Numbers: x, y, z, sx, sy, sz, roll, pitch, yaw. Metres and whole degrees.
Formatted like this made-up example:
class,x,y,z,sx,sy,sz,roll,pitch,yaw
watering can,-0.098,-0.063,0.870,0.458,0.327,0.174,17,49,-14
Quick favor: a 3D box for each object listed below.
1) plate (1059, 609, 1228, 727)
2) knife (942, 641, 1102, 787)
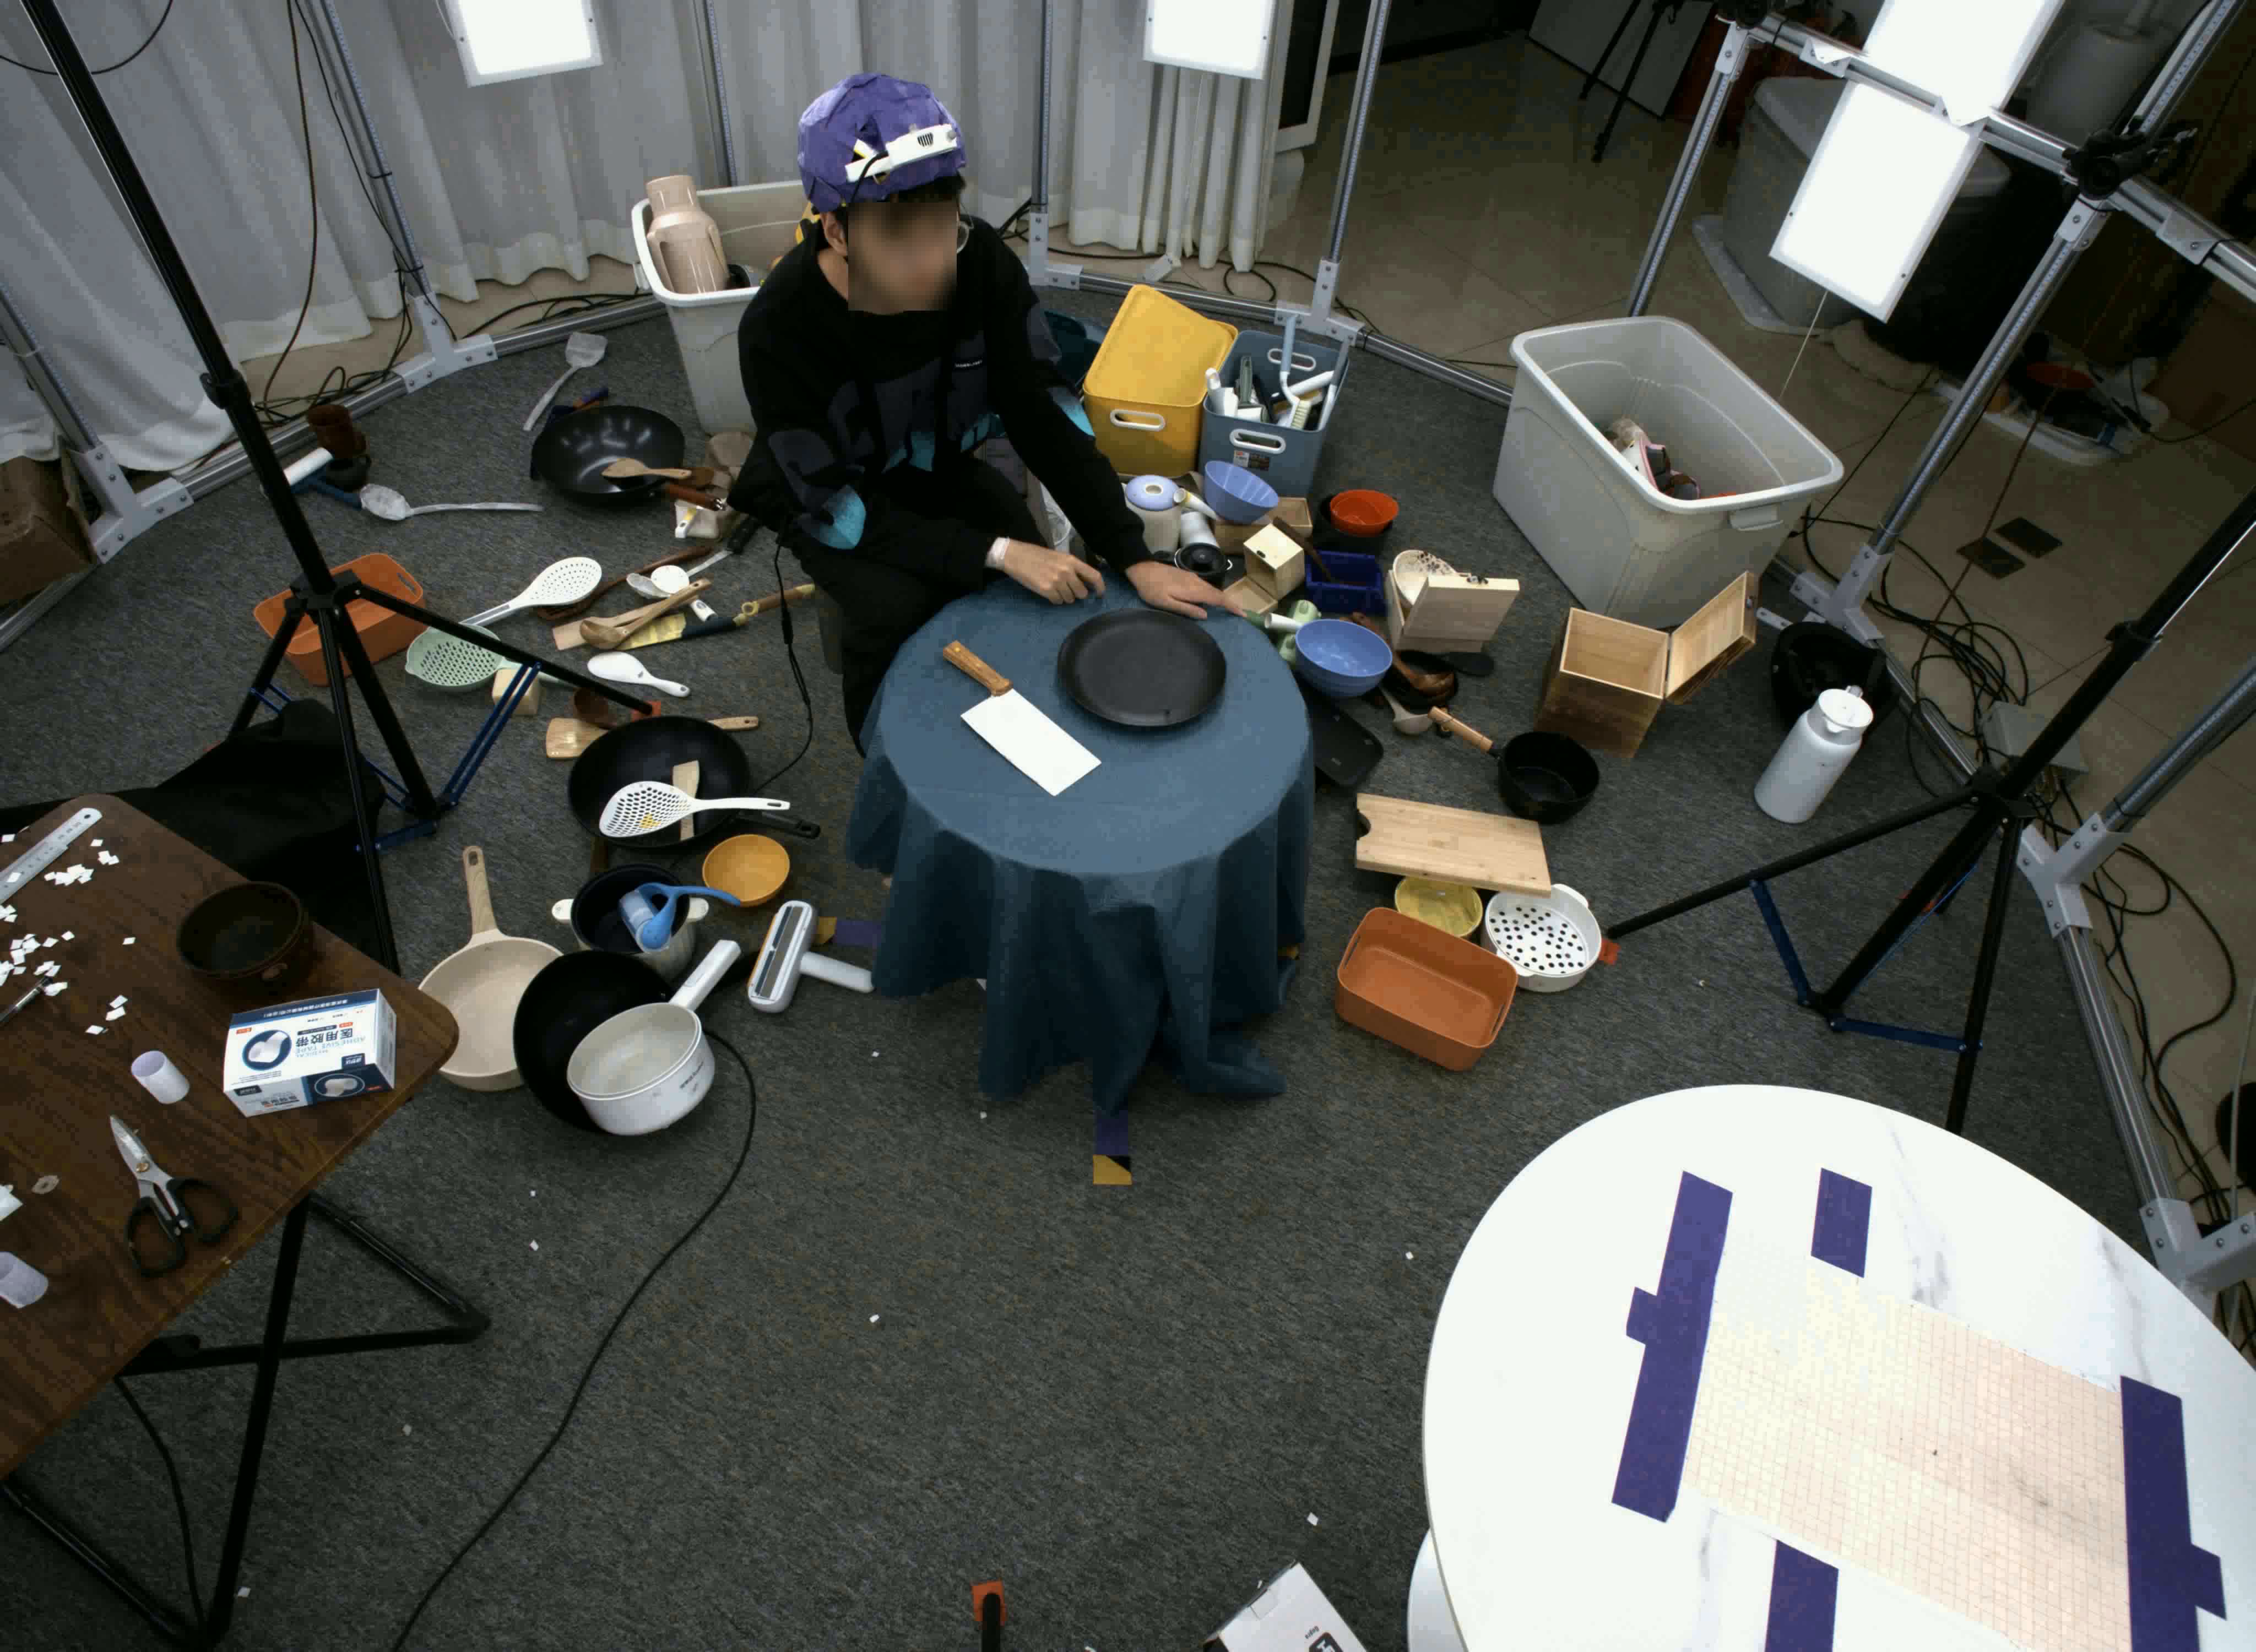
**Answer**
class,x,y,z,sx,sy,sz,roll,pitch,yaw
plate,0.022,-0.225,1.850,0.244,0.023,0.250,2,49,-2
knife,-0.169,-0.154,1.781,0.094,0.020,0.310,-36,62,-28
